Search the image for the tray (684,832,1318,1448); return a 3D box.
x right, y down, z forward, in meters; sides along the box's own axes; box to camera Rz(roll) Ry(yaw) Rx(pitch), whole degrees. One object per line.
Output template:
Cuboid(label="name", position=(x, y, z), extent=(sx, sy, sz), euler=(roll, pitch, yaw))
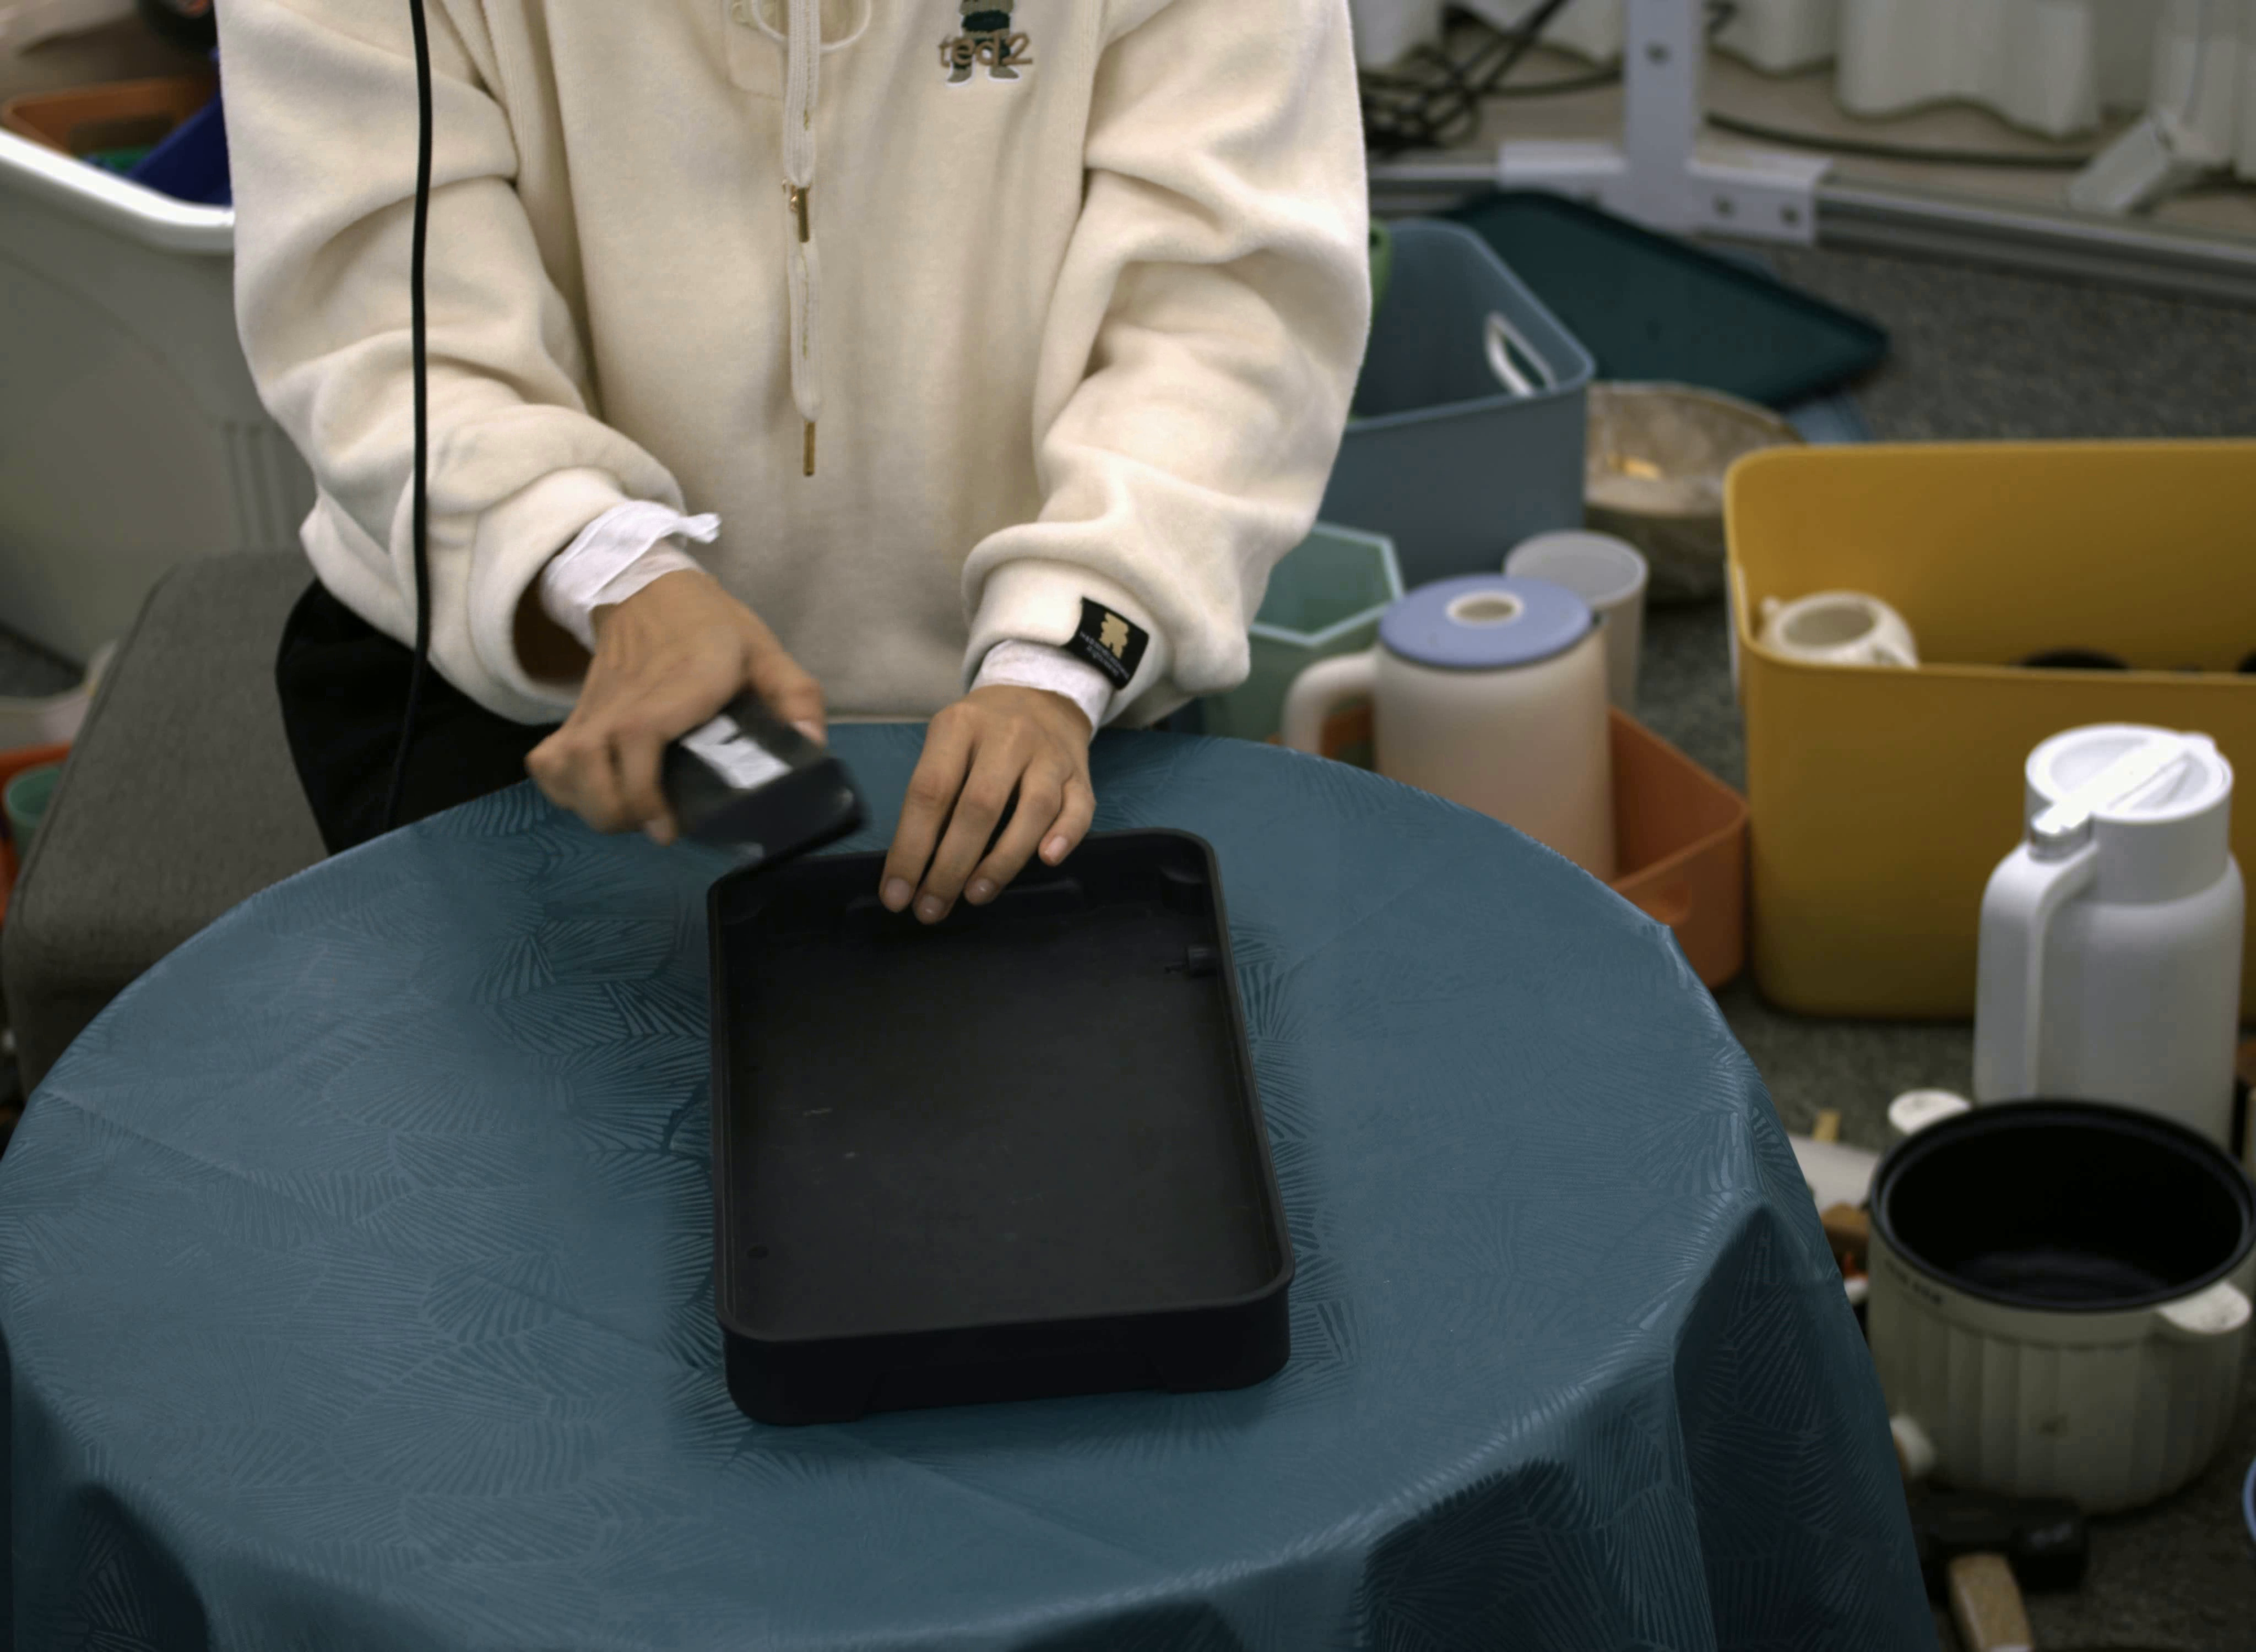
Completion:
Cuboid(label="tray", position=(-0.048, 0.098, 1.870), extent=(0.184, 0.036, 0.322), euler=(-6, 28, -5))

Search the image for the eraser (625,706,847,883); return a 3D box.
Cuboid(label="eraser", position=(-0.136, -0.012, 1.947), extent=(0.053, 0.030, 0.126), euler=(-21, 15, -11))
